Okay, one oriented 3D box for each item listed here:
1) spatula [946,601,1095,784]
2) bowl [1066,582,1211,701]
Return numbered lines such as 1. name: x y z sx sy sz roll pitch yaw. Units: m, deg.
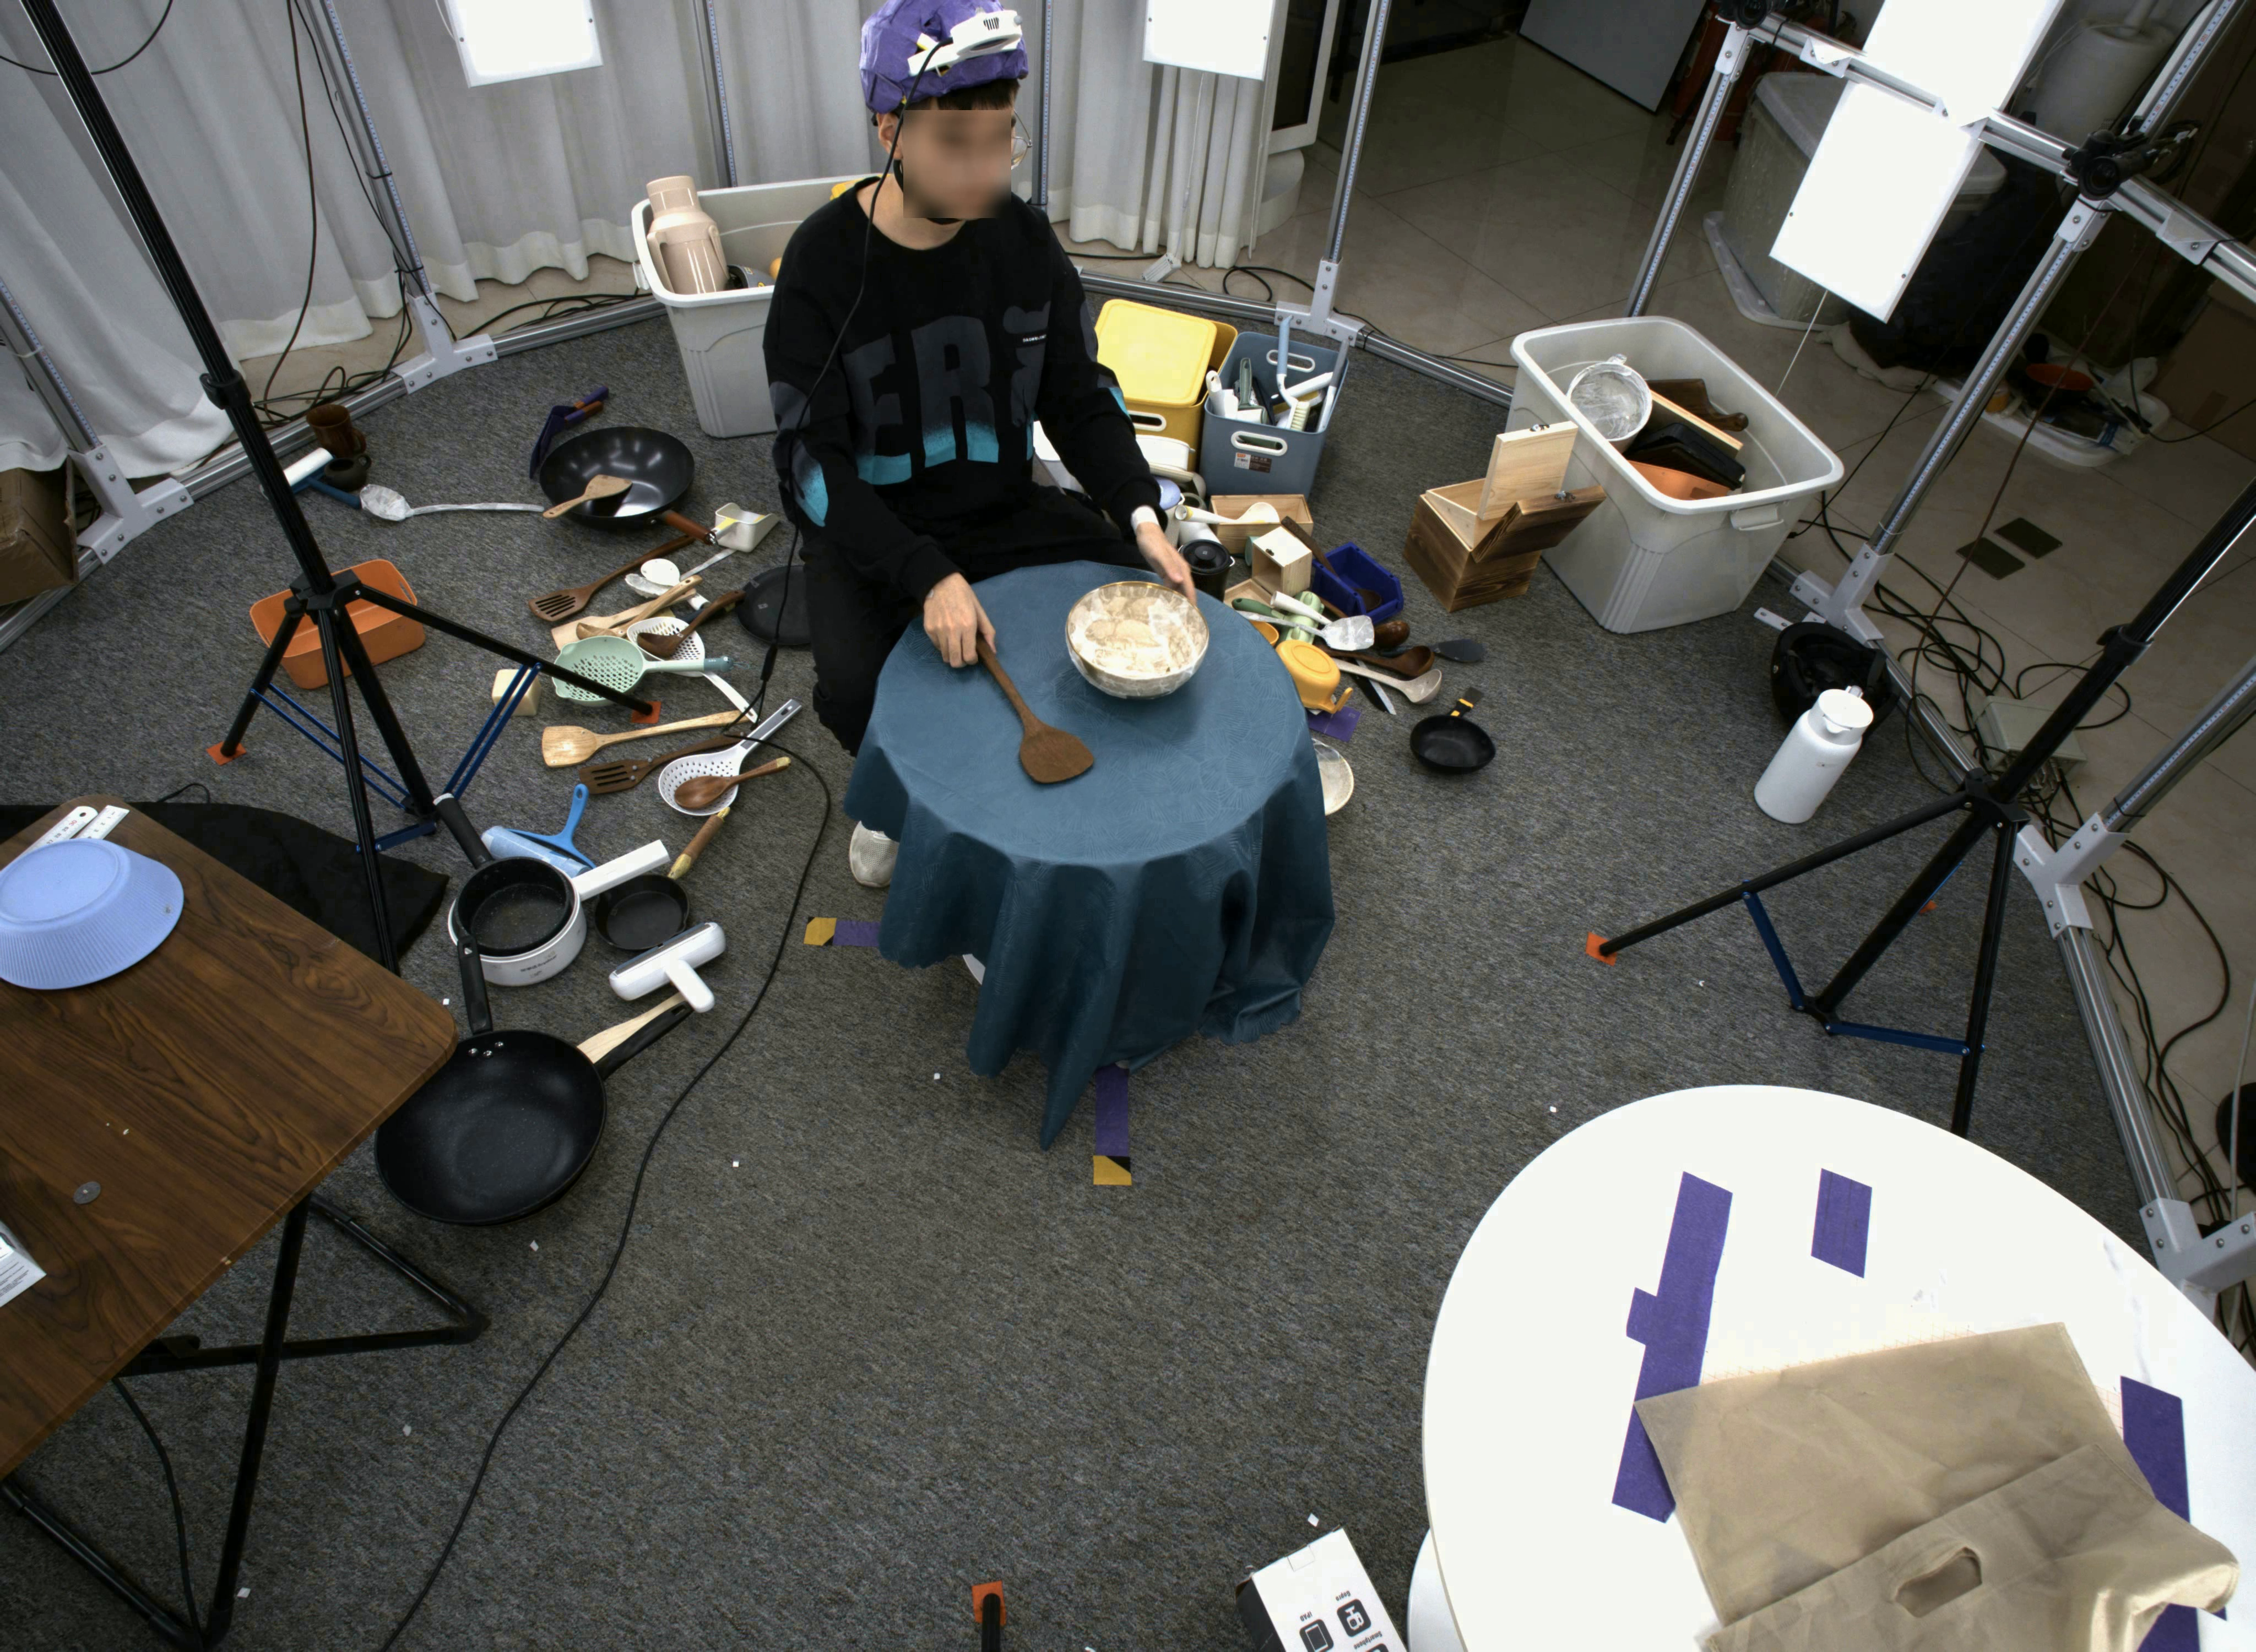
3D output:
1. spatula: -0.171 -0.200 1.831 0.096 0.015 0.394 -20 56 -22
2. bowl: 0.014 -0.250 1.842 0.214 0.092 0.220 1 49 -1
